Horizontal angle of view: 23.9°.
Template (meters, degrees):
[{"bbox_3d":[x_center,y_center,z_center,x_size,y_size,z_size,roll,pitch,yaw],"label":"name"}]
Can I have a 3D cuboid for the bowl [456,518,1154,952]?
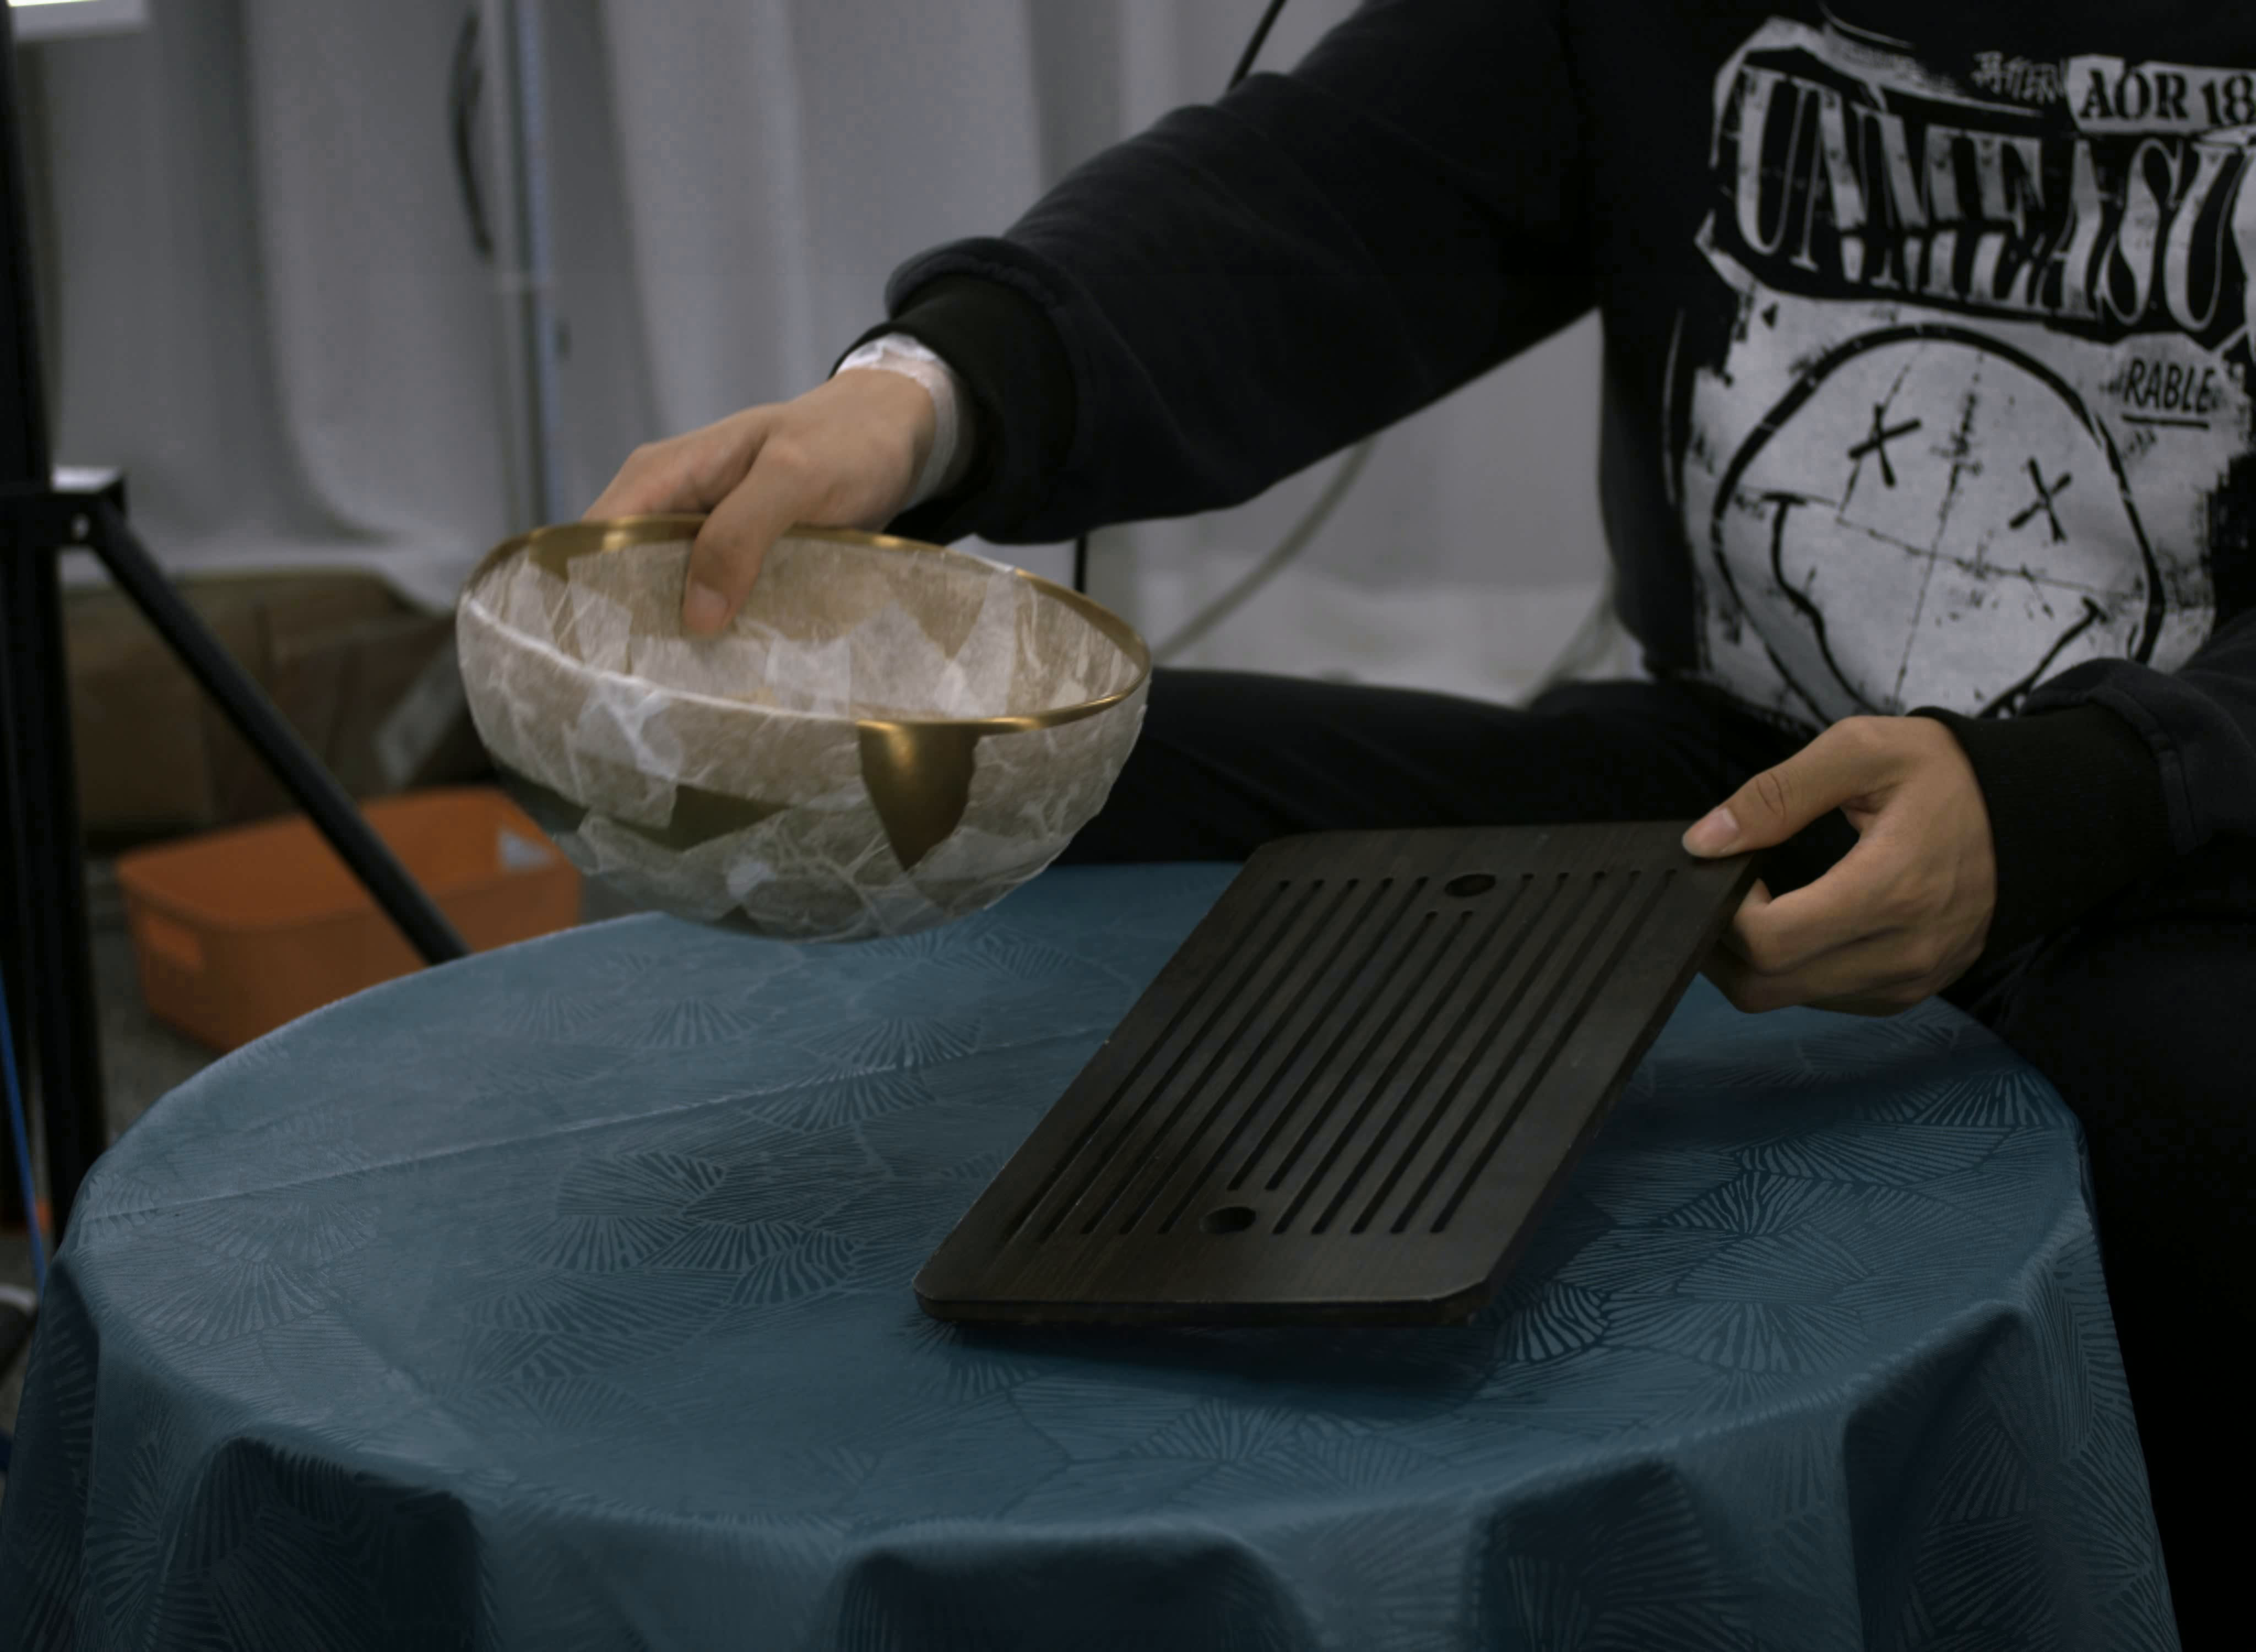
[{"bbox_3d":[-0.094,-0.018,1.553,0.213,0.095,0.216,6,16,-3],"label":"bowl"}]

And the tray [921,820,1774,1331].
[{"bbox_3d":[0.072,0.071,1.536,0.172,0.018,0.303,-2,24,25],"label":"tray"}]
